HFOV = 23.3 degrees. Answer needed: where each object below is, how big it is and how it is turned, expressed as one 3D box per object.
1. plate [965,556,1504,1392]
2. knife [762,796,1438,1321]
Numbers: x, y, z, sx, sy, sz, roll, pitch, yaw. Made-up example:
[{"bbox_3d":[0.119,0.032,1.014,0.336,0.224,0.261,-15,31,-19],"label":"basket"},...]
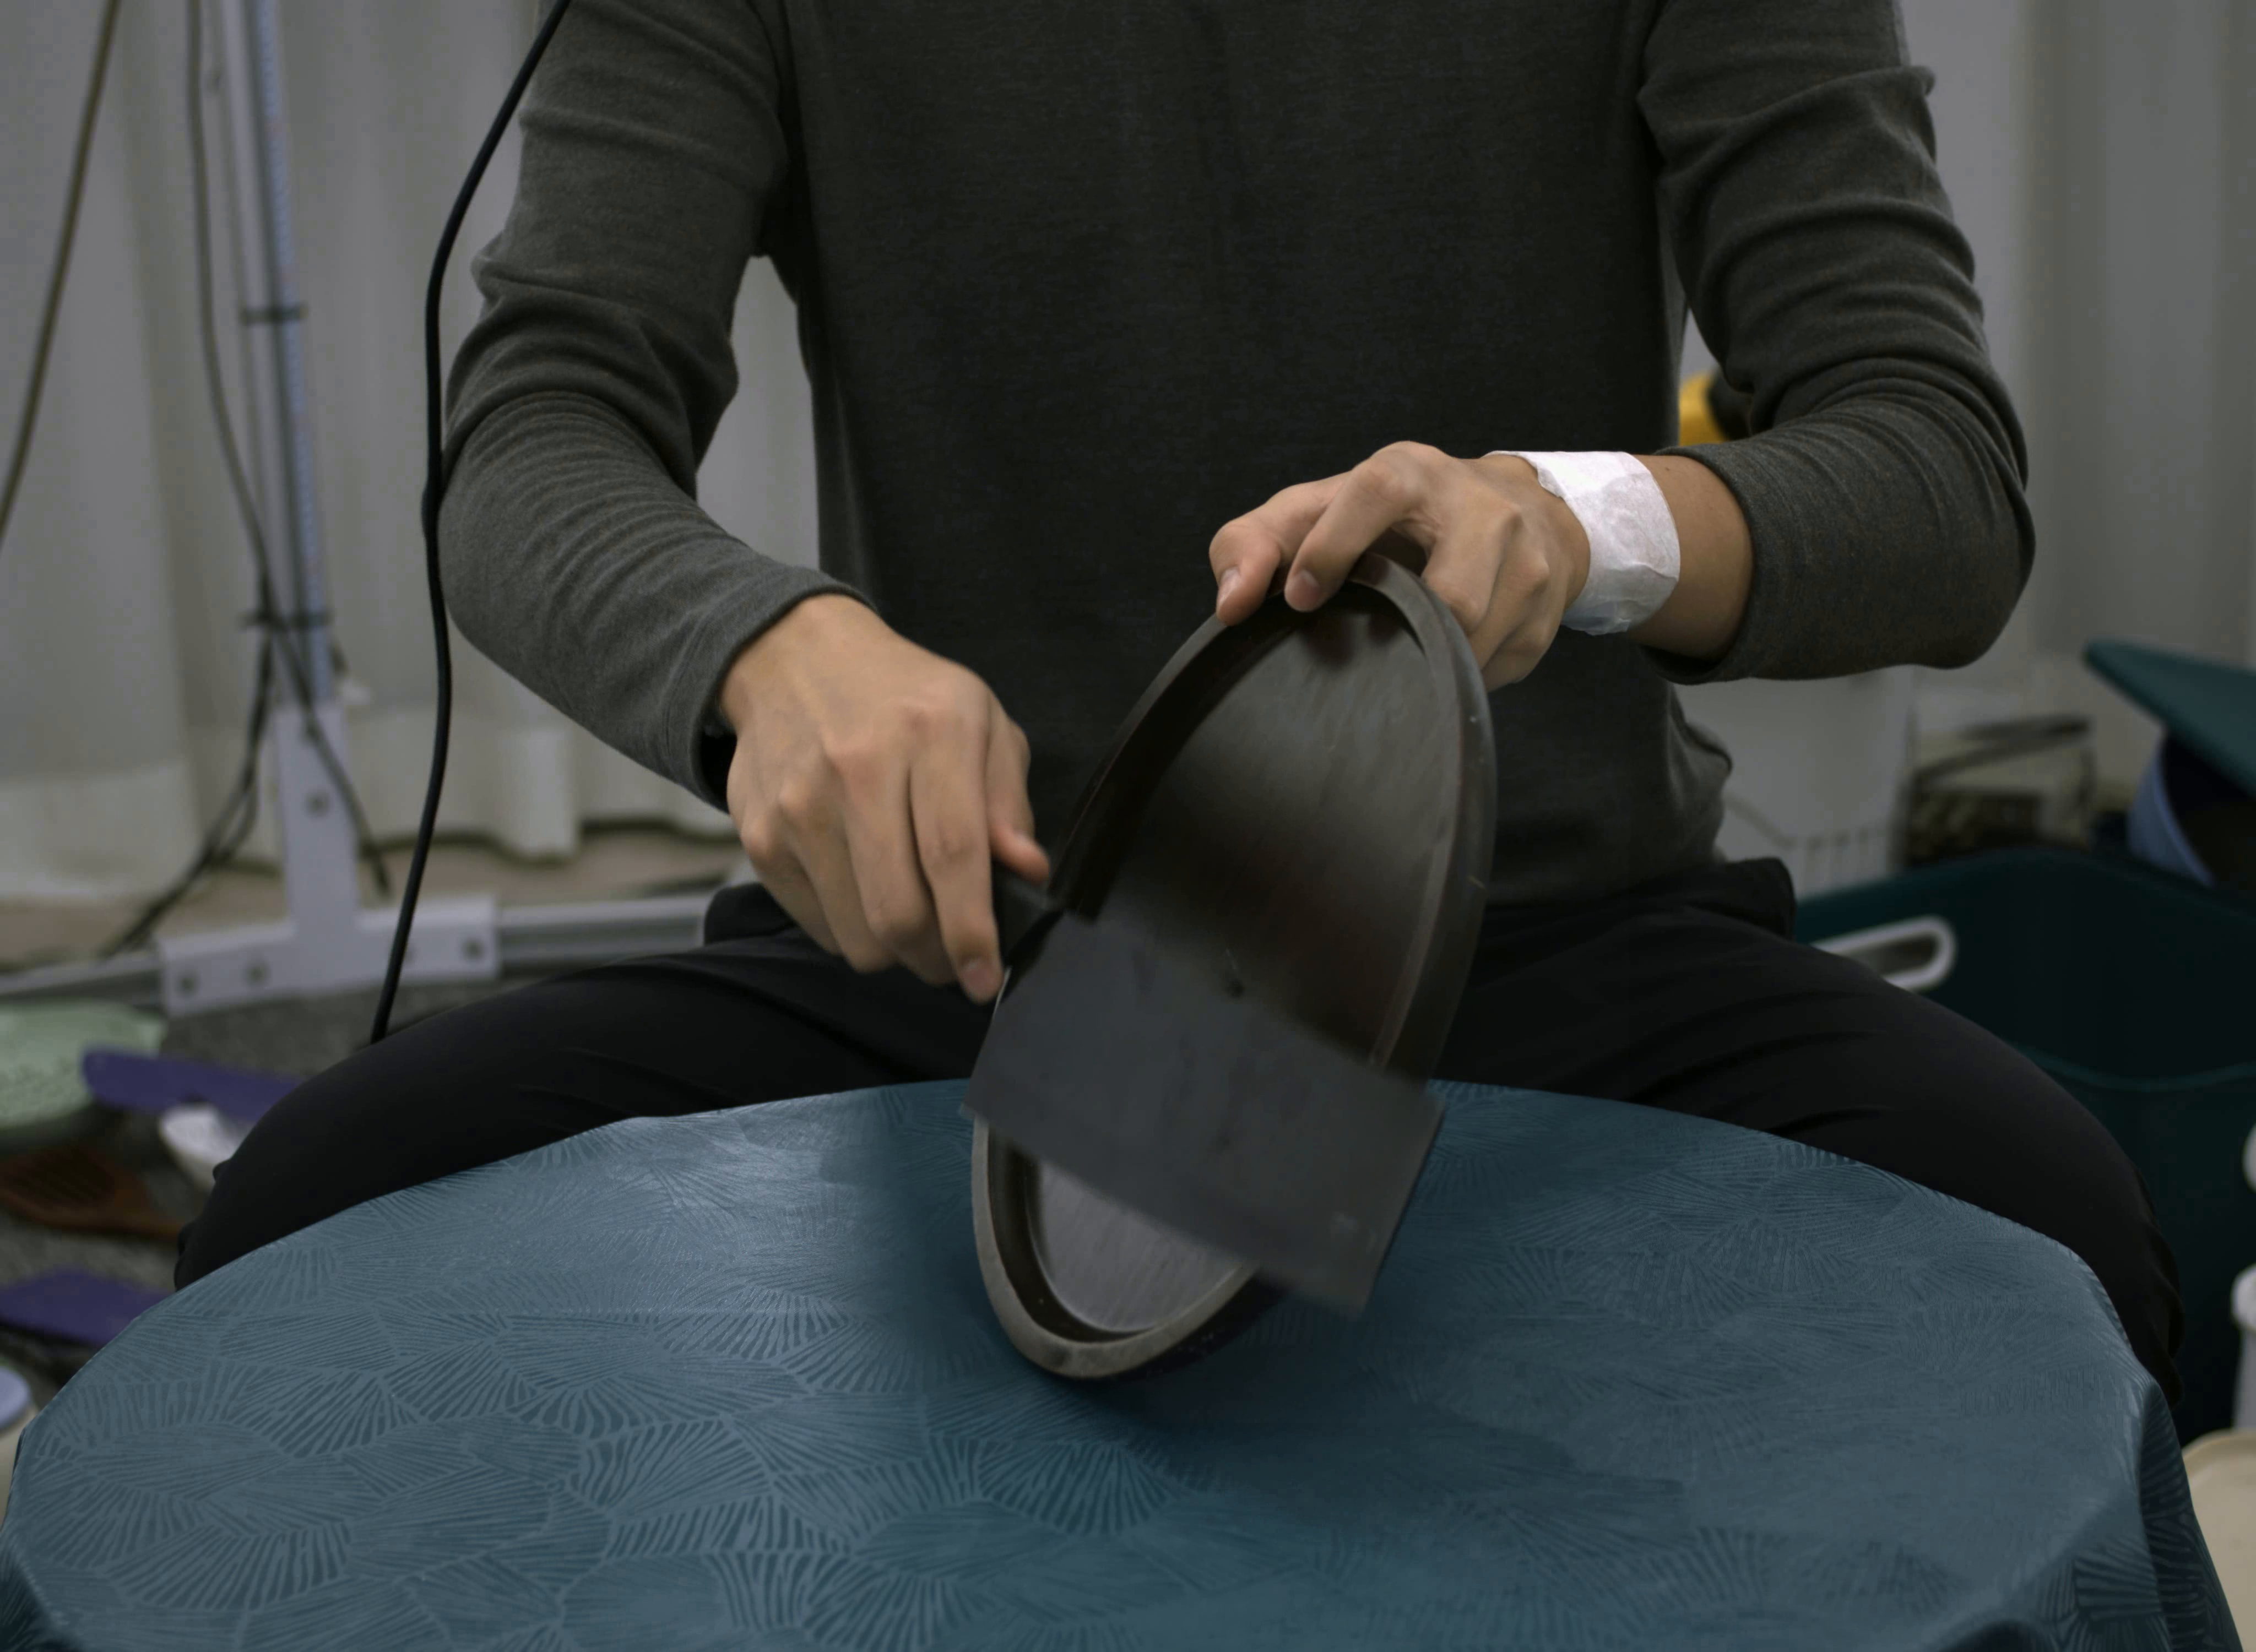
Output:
[{"bbox_3d":[0.029,0.042,1.569,0.029,0.255,0.257,22,3,-26],"label":"plate"},{"bbox_3d":[-0.017,0.057,1.535,0.020,0.081,0.305,22,7,-41],"label":"knife"}]
